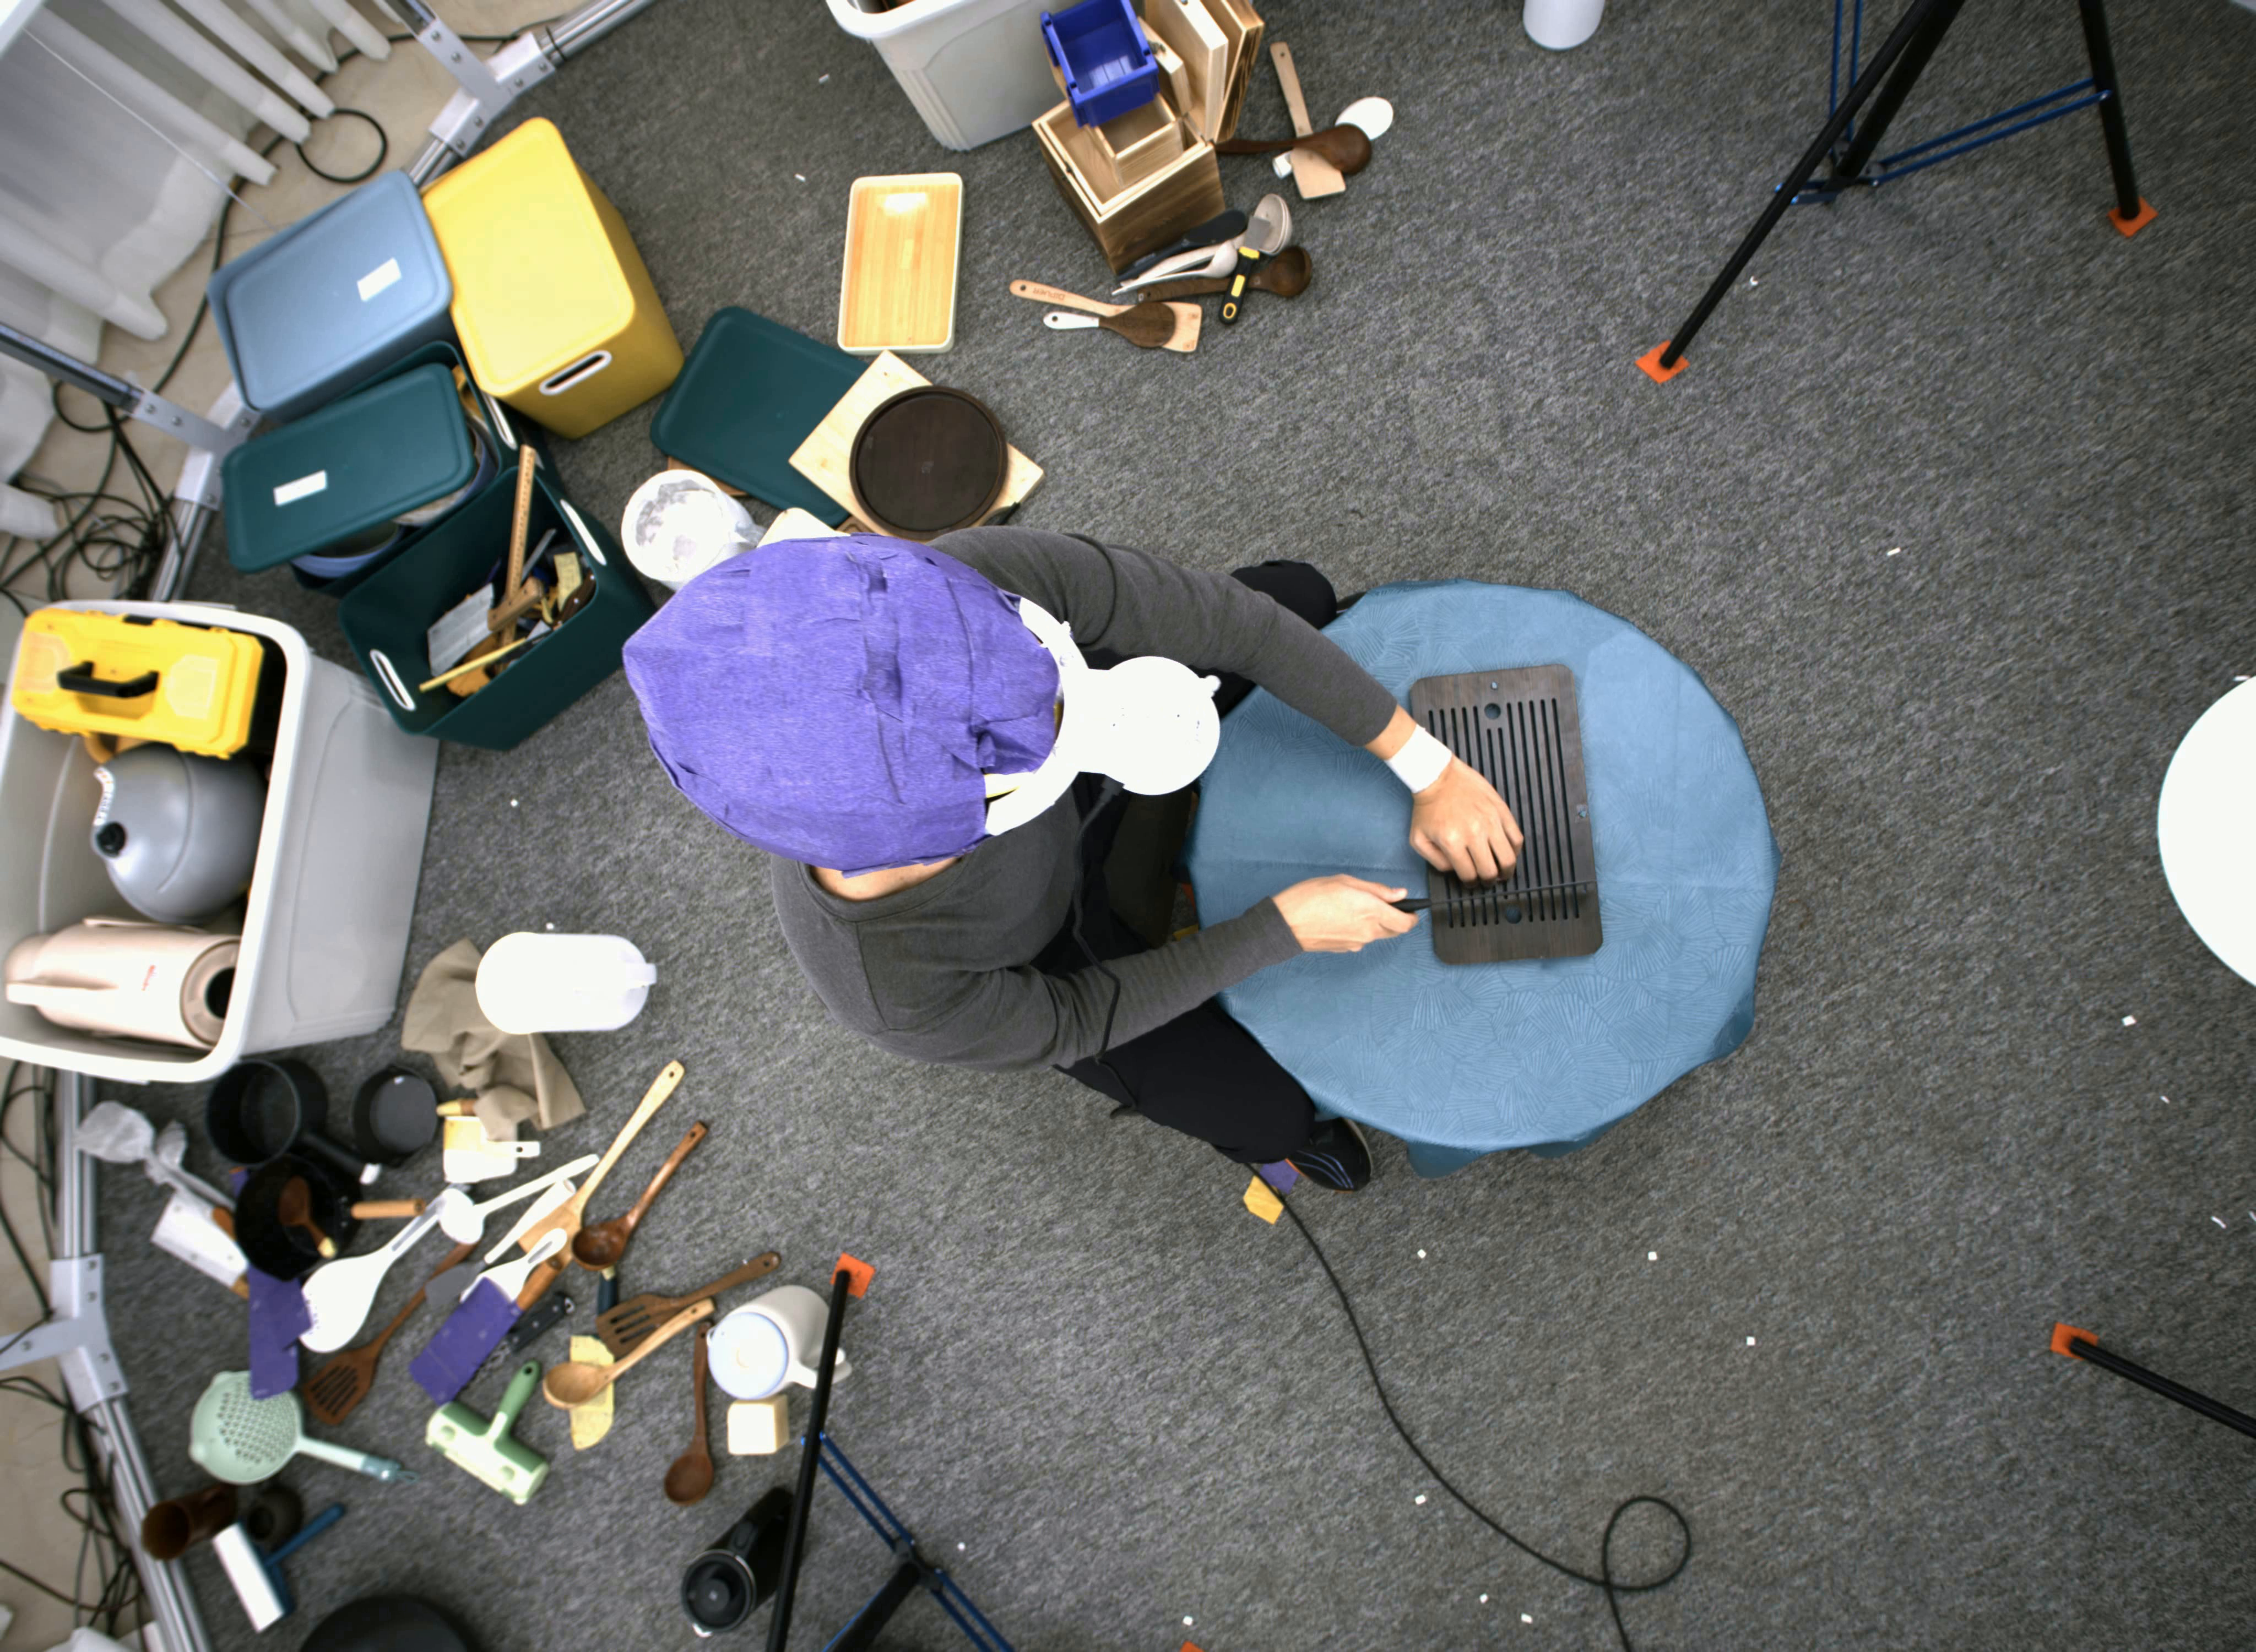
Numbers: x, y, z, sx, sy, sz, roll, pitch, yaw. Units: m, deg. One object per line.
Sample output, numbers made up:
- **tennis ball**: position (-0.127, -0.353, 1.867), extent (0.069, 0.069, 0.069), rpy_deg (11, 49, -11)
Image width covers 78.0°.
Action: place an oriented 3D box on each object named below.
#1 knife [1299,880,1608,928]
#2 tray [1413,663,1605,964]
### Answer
- **knife**: position (0.322, 0.073, 1.371), extent (0.303, 0.081, 0.021), rpy_deg (-8, 83, 7)
- **tray**: position (0.396, -0.016, 1.432), extent (0.171, 0.018, 0.304), rpy_deg (-5, 85, 11)
